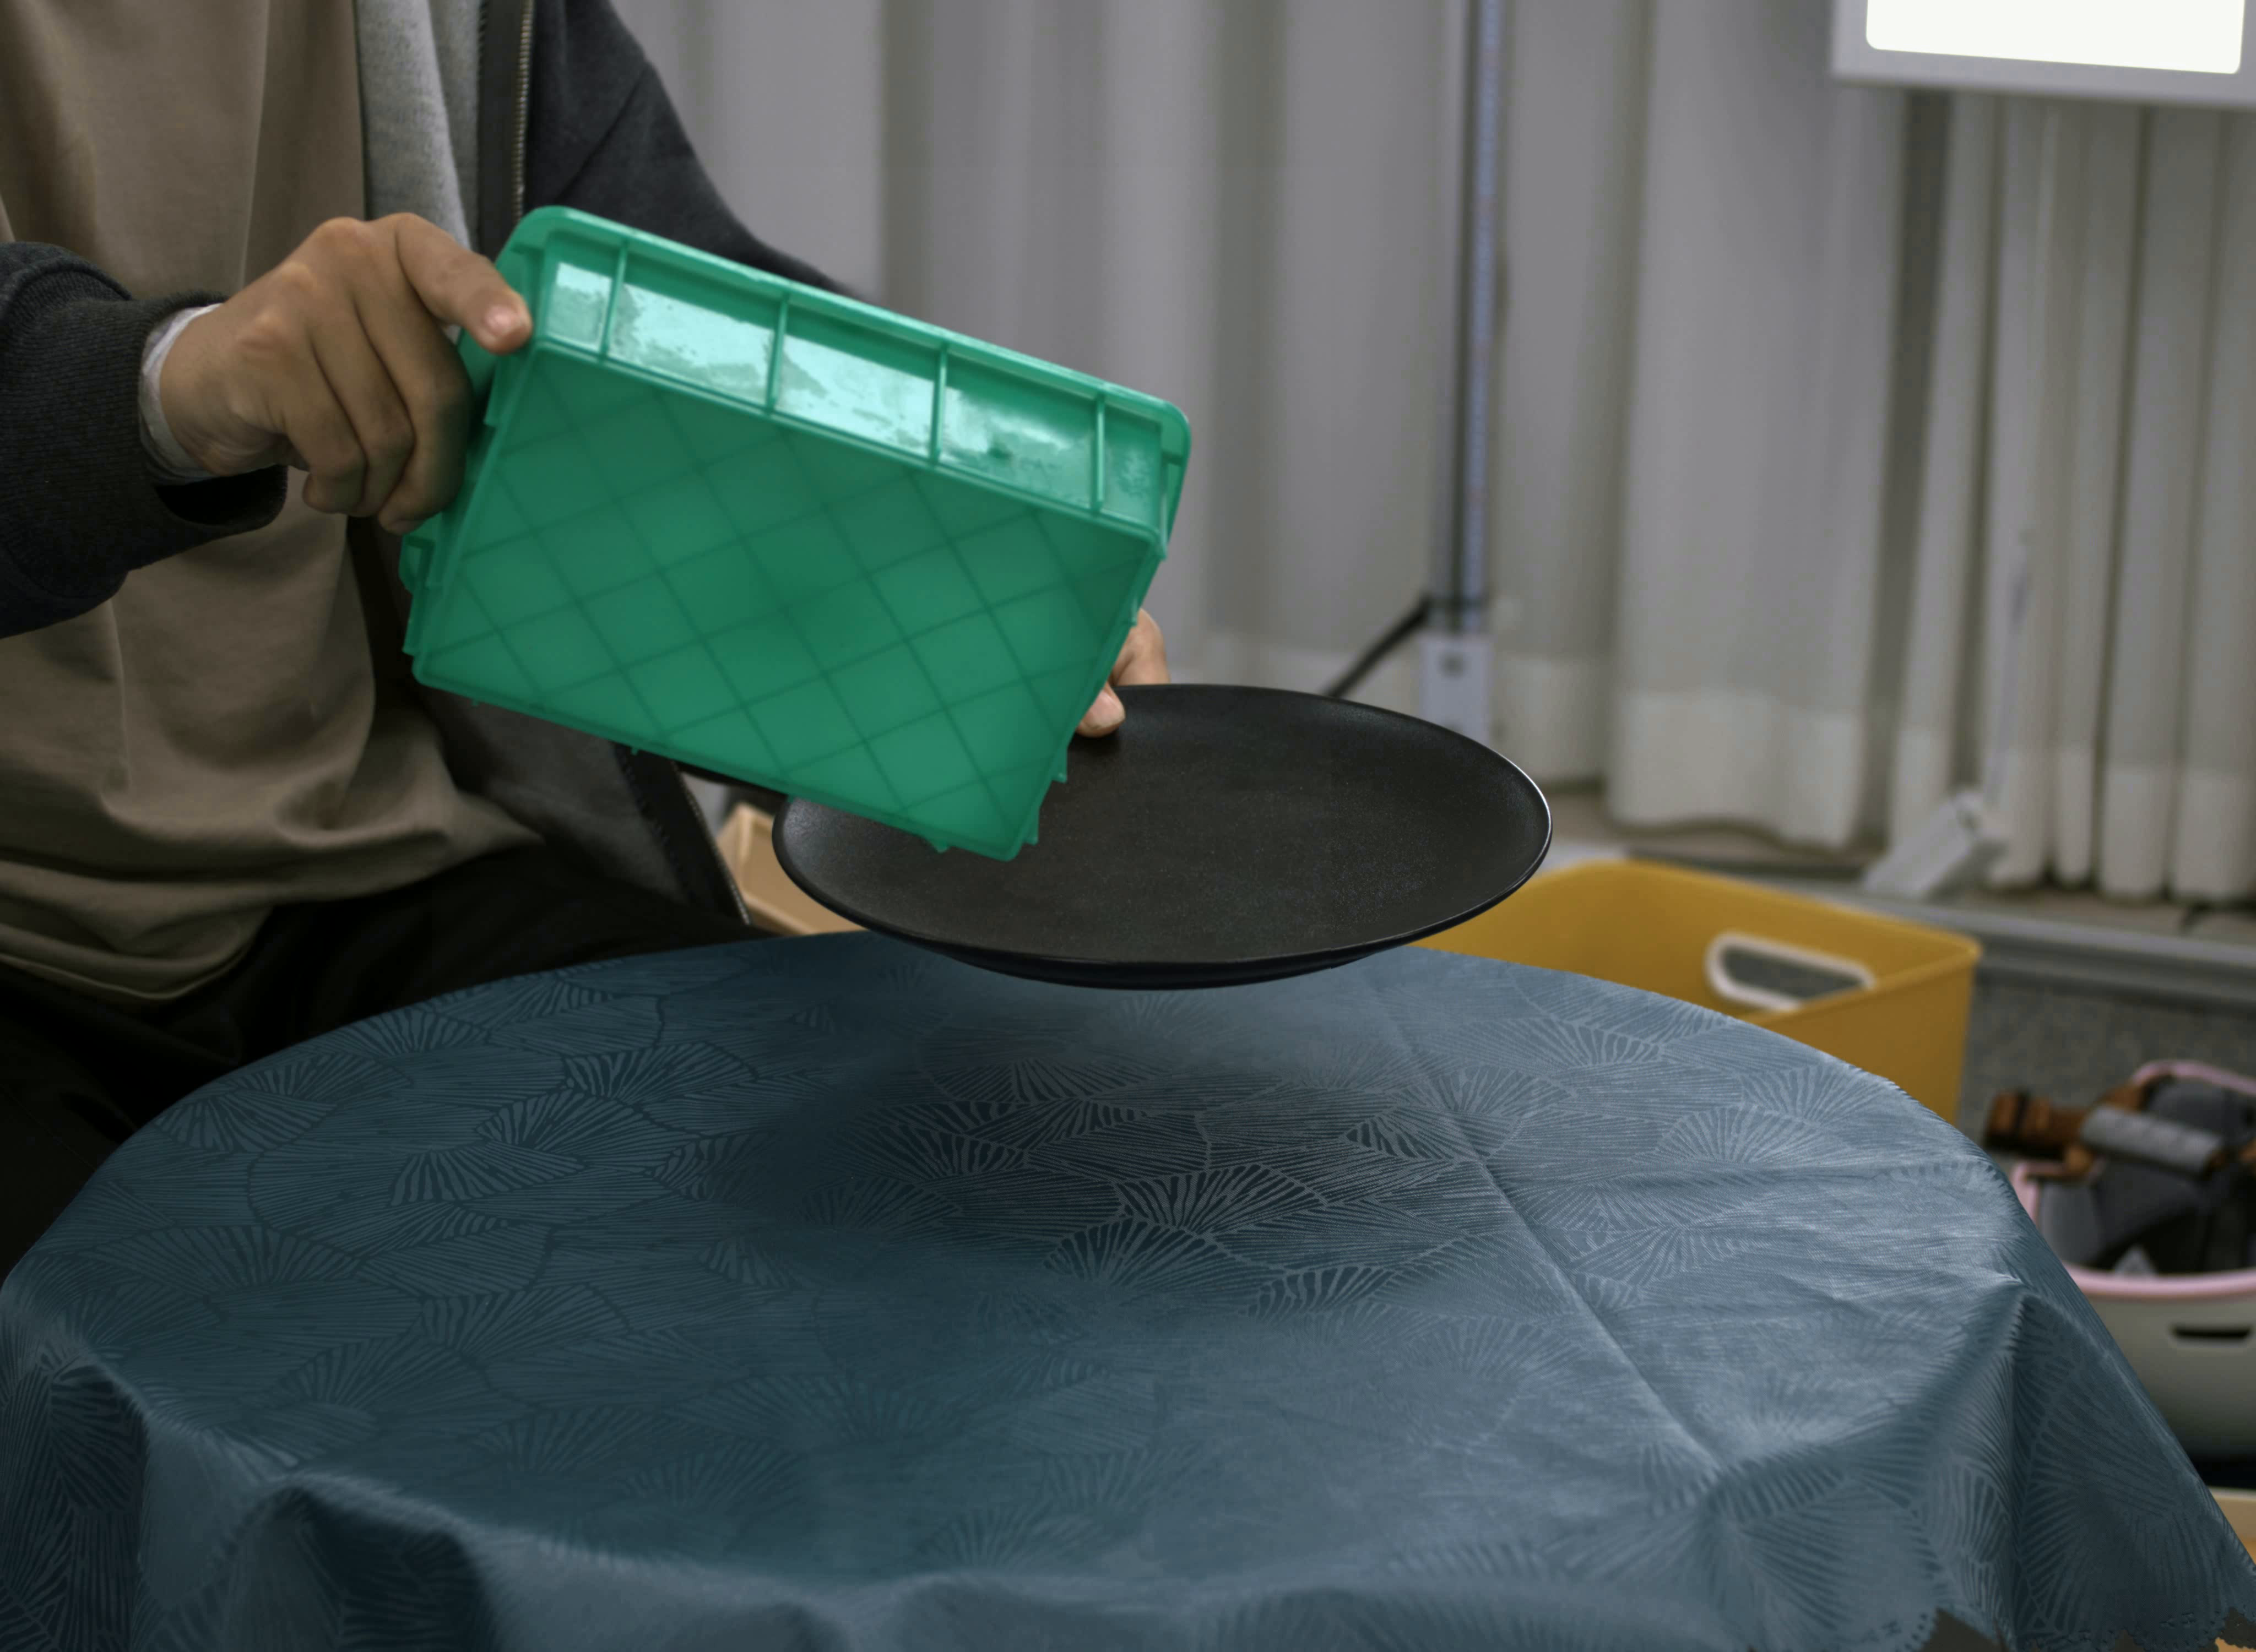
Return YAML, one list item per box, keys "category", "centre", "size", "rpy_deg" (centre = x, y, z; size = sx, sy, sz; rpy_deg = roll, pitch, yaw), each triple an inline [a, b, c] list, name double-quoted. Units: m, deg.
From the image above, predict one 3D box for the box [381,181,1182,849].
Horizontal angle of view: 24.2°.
- category: "box"
  centre: [-0.098, -0.080, 1.464]
  size: [0.211, 0.139, 0.064]
  rpy_deg: [17, 32, -15]

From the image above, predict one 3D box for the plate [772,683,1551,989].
- category: "plate"
  centre: [0.010, 0.006, 1.647]
  size: [0.243, 0.023, 0.243]
  rpy_deg: [0, 22, 1]
